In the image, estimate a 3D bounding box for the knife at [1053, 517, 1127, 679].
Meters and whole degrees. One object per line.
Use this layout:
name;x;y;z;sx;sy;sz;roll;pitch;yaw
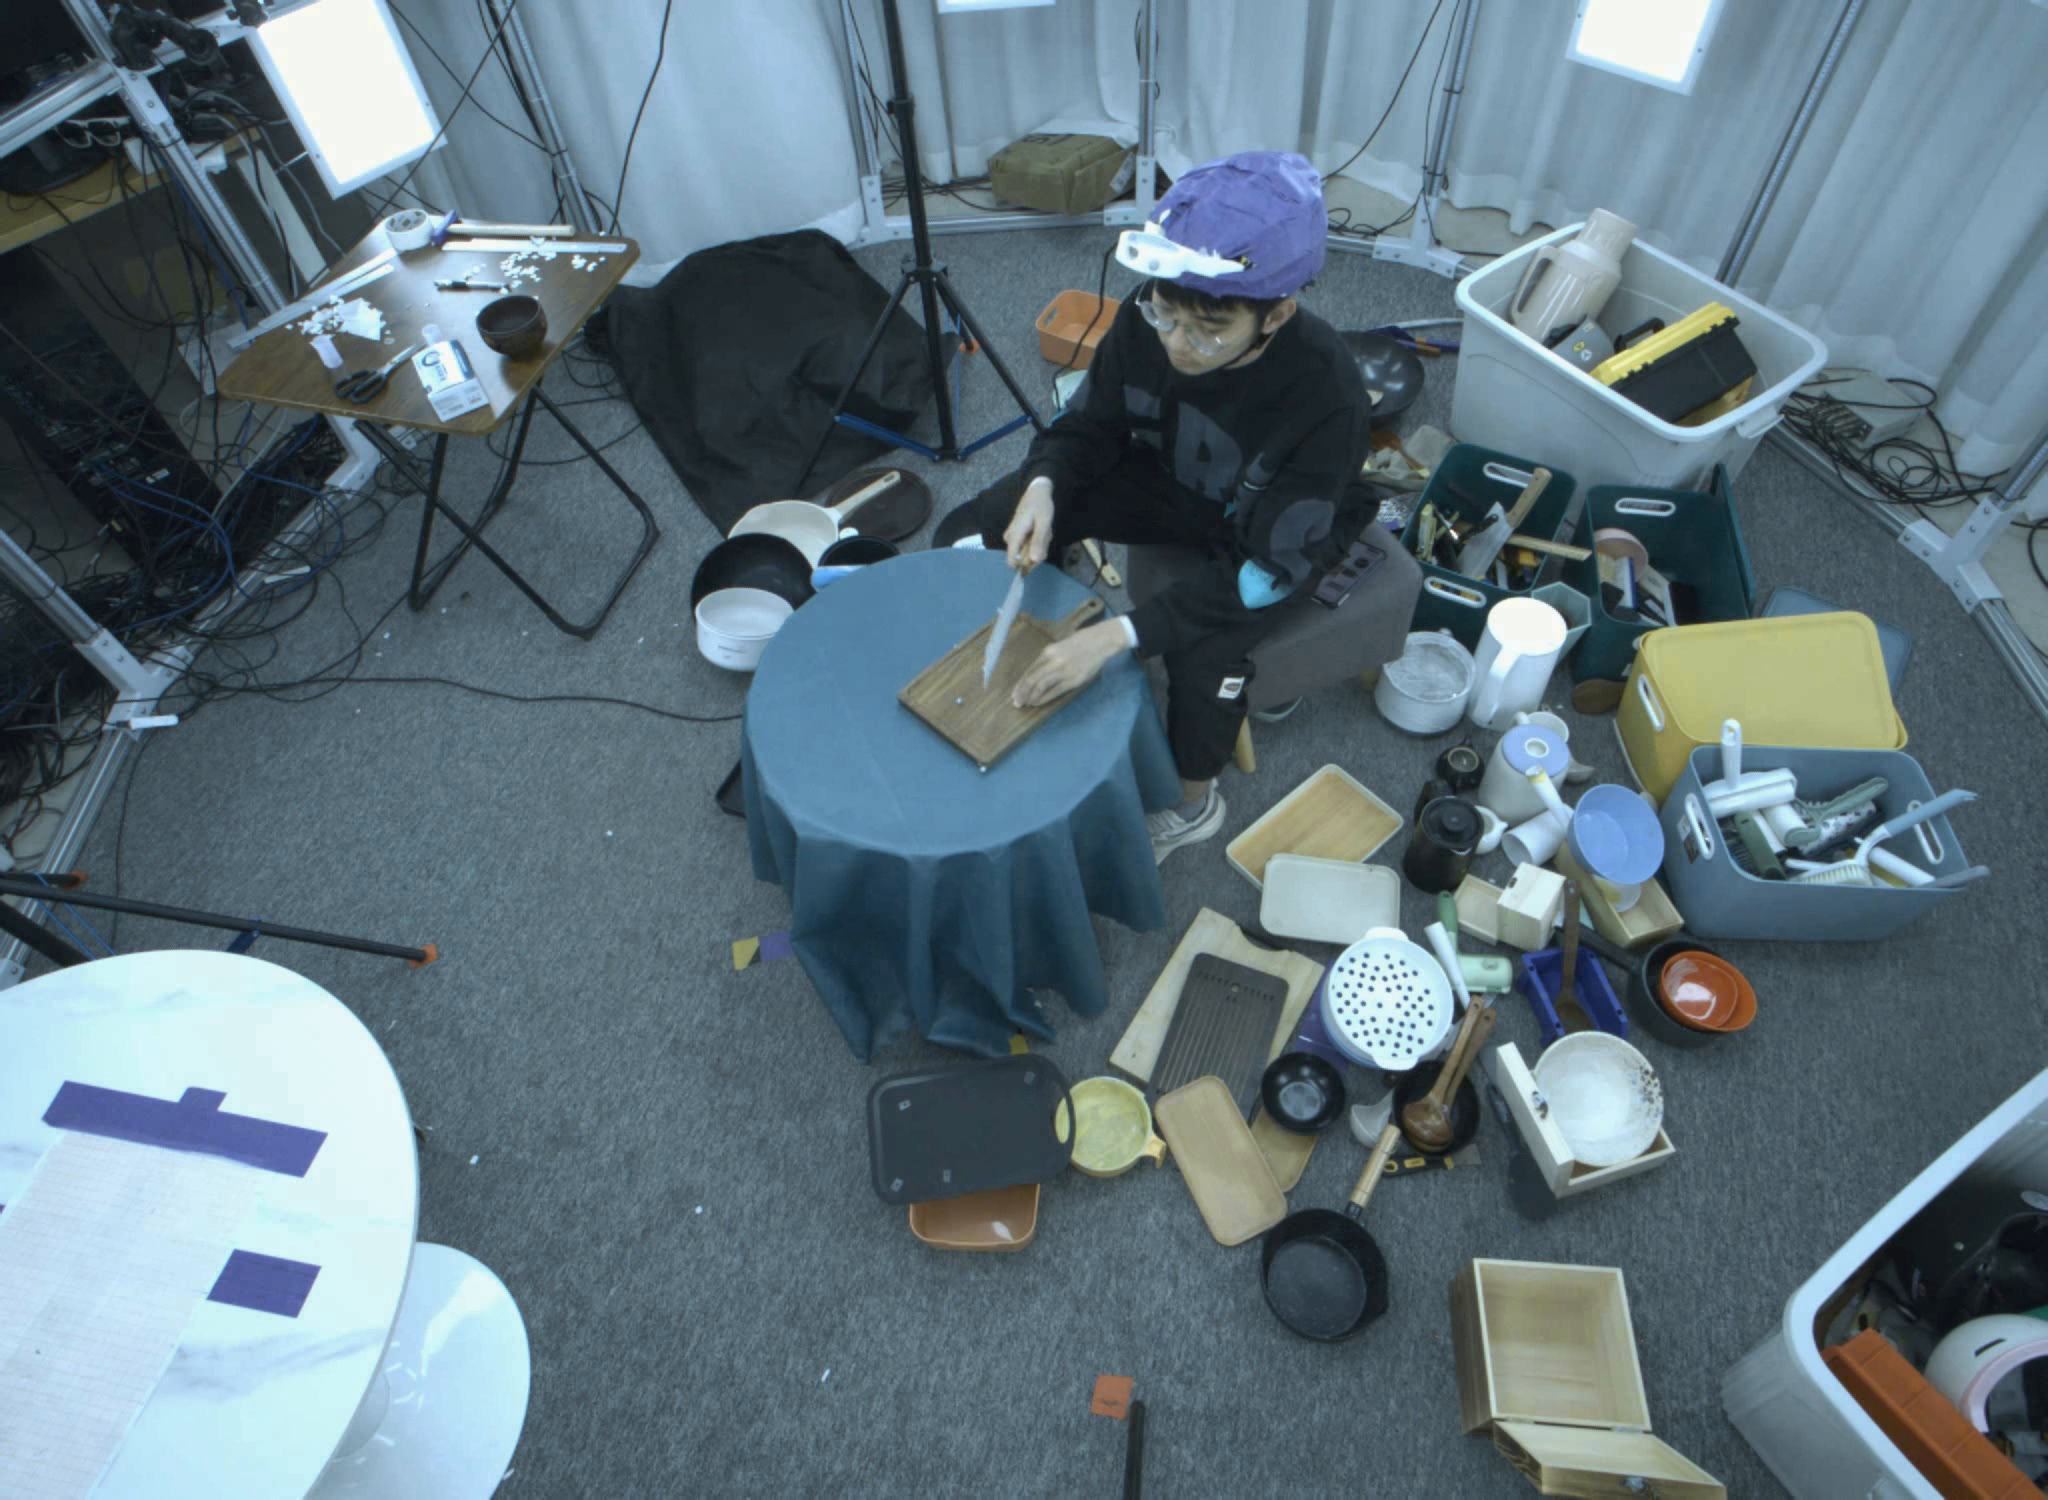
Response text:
knife;0.094;-0.220;1.787;0.021;0.093;0.305;18;51;9

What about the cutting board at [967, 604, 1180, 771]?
cutting board;0.106;-0.123;1.861;0.355;0.023;0.197;-35;62;-23
